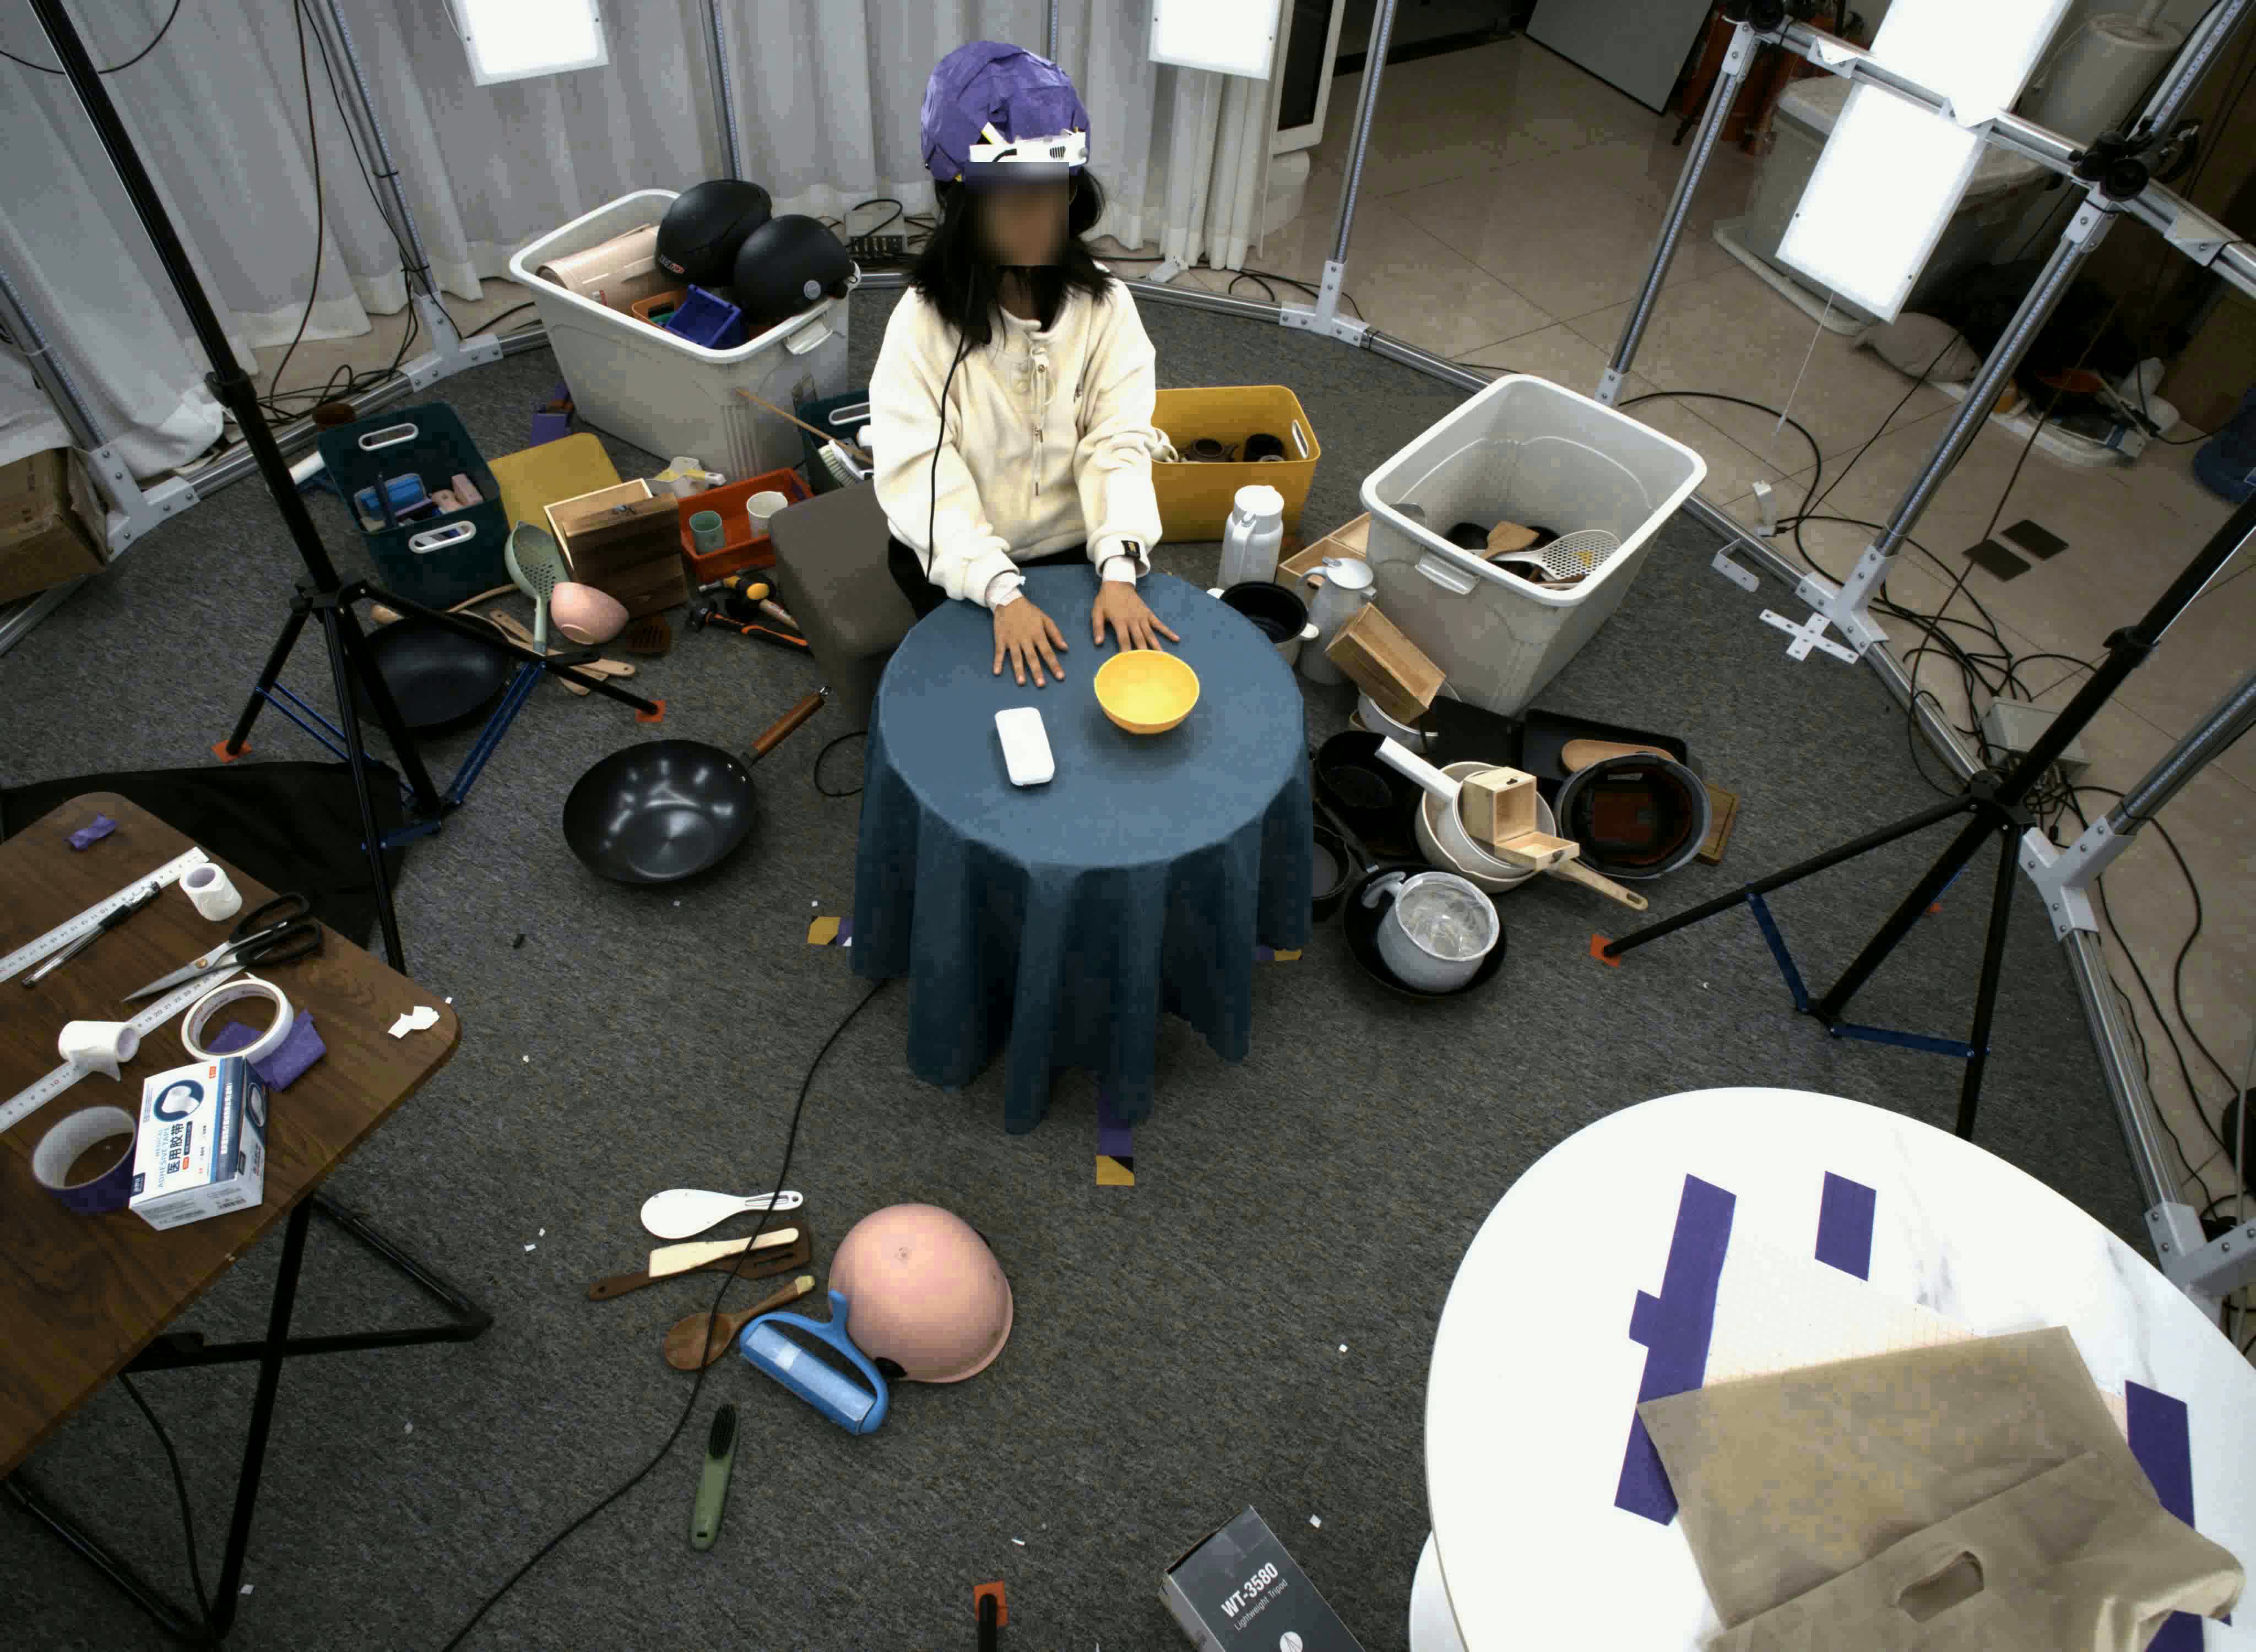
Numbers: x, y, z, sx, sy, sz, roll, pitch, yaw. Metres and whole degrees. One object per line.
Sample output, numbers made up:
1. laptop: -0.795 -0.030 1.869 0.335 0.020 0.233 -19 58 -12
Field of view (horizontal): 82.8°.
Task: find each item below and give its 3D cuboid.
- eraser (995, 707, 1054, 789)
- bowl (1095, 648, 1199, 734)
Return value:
1. eraser: -0.139 -0.108 1.735 0.063 0.034 0.134 -8 51 -11
2. bowl: 0.025 -0.176 1.787 0.145 0.058 0.149 2 52 -2
